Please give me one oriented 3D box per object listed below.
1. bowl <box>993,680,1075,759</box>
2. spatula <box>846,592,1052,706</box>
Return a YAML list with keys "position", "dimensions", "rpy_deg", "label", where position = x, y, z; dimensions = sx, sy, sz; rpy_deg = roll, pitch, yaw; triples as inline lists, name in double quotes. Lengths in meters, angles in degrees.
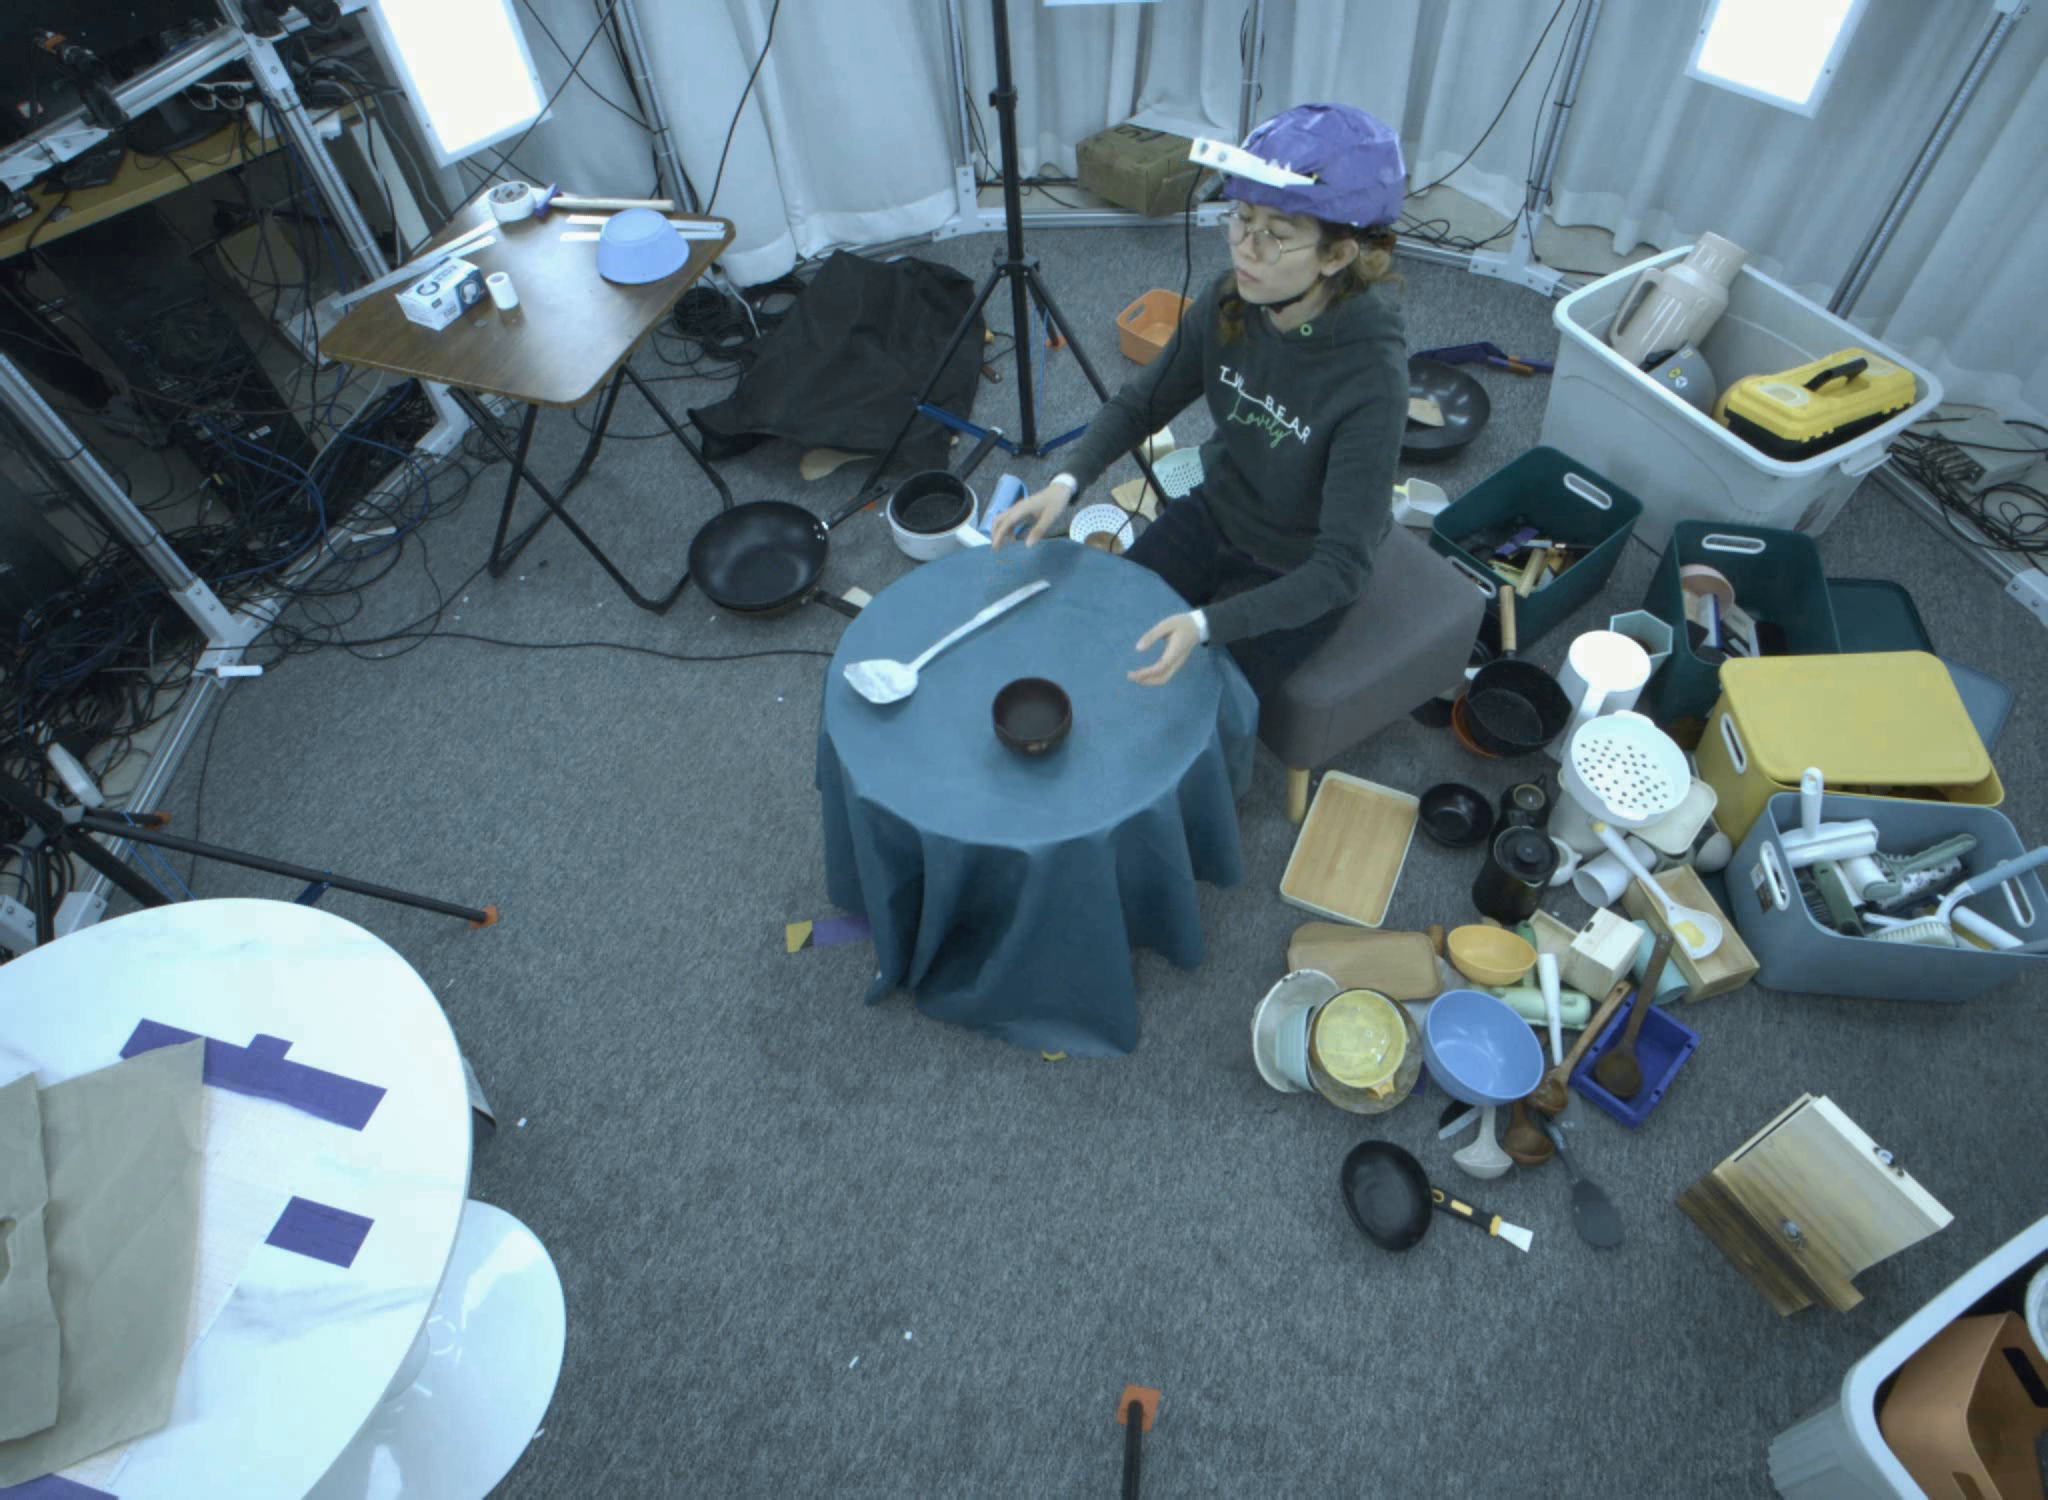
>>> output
- position: [0.015, -0.036, 1.779]
  dimensions: [0.118, 0.070, 0.117]
  rpy_deg: [1, 56, 0]
  label: "bowl"
- position: [-0.106, -0.170, 1.897]
  dimensions: [0.368, 0.045, 0.097]
  rpy_deg: [-34, 58, -20]
  label: "spatula"
